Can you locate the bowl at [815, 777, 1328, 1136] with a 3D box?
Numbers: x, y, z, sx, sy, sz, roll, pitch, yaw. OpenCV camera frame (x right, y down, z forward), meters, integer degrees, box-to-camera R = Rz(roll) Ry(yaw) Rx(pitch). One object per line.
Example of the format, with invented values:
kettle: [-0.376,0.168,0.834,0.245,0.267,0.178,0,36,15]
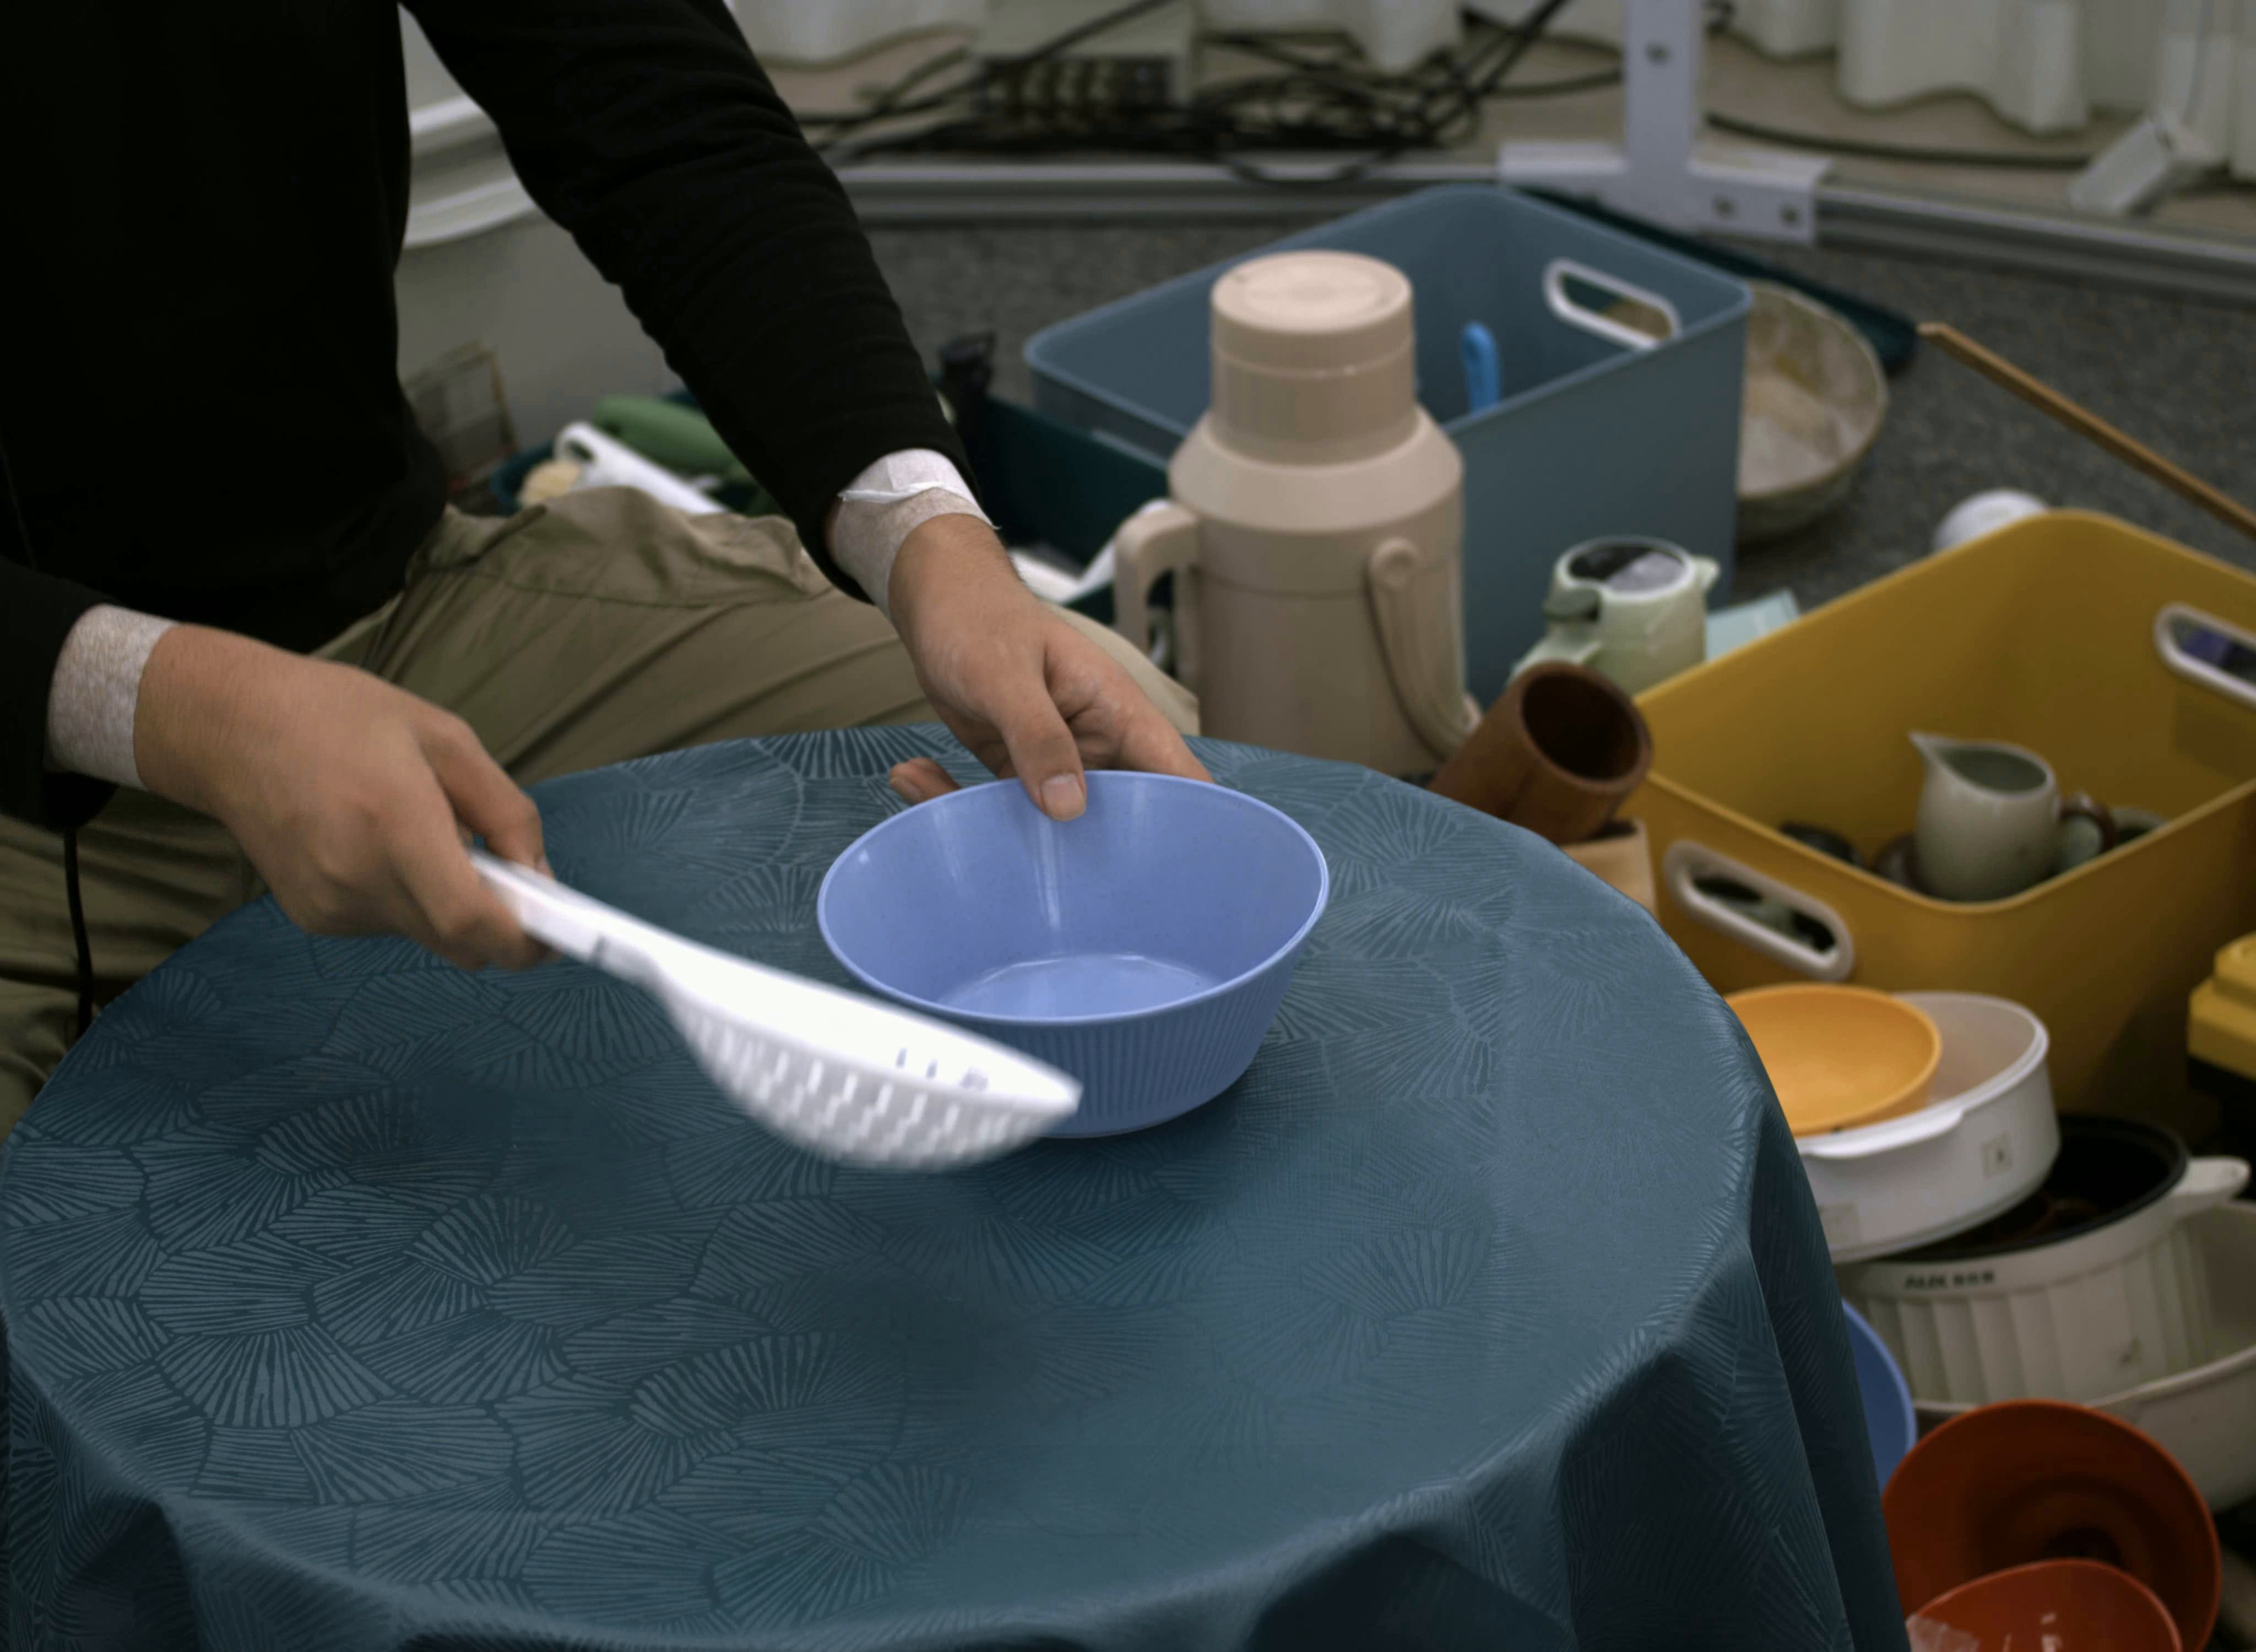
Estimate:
bowl: [-0.017,0.050,1.926,0.175,0.069,0.178,-3,26,2]

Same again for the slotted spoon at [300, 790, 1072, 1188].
slotted spoon: [-0.158,0.046,1.814,0.136,0.045,0.350,12,13,-48]
